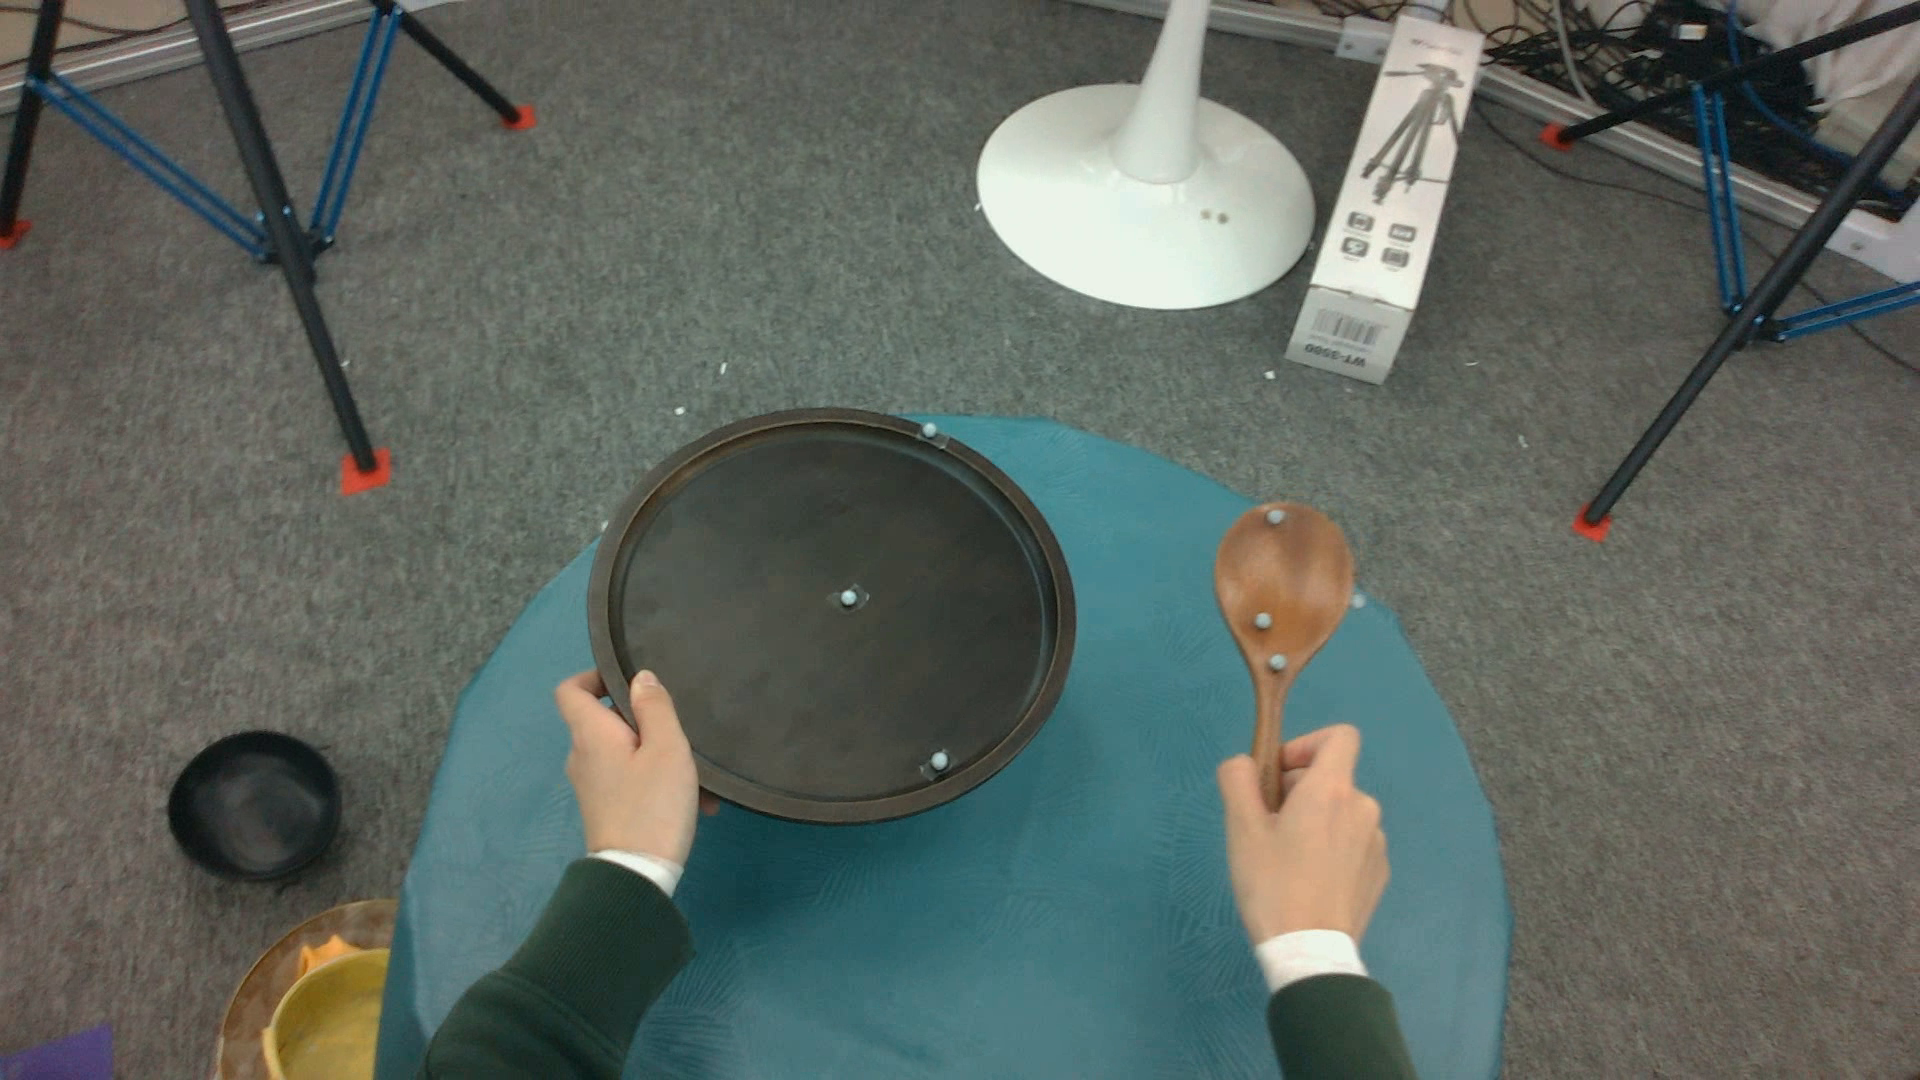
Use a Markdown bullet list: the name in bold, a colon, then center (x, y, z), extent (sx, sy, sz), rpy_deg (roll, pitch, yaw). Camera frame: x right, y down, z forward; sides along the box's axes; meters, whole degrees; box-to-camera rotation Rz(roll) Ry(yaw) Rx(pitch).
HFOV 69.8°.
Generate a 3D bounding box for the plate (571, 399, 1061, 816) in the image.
- **plate**: center (-0.073, 0.028, 0.724), extent (0.255, 0.029, 0.256), rpy_deg (5, 53, -7)

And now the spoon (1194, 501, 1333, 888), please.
- **spoon**: center (0.154, 0.074, 0.715), extent (0.075, 0.017, 0.217), rpy_deg (8, 60, 3)
